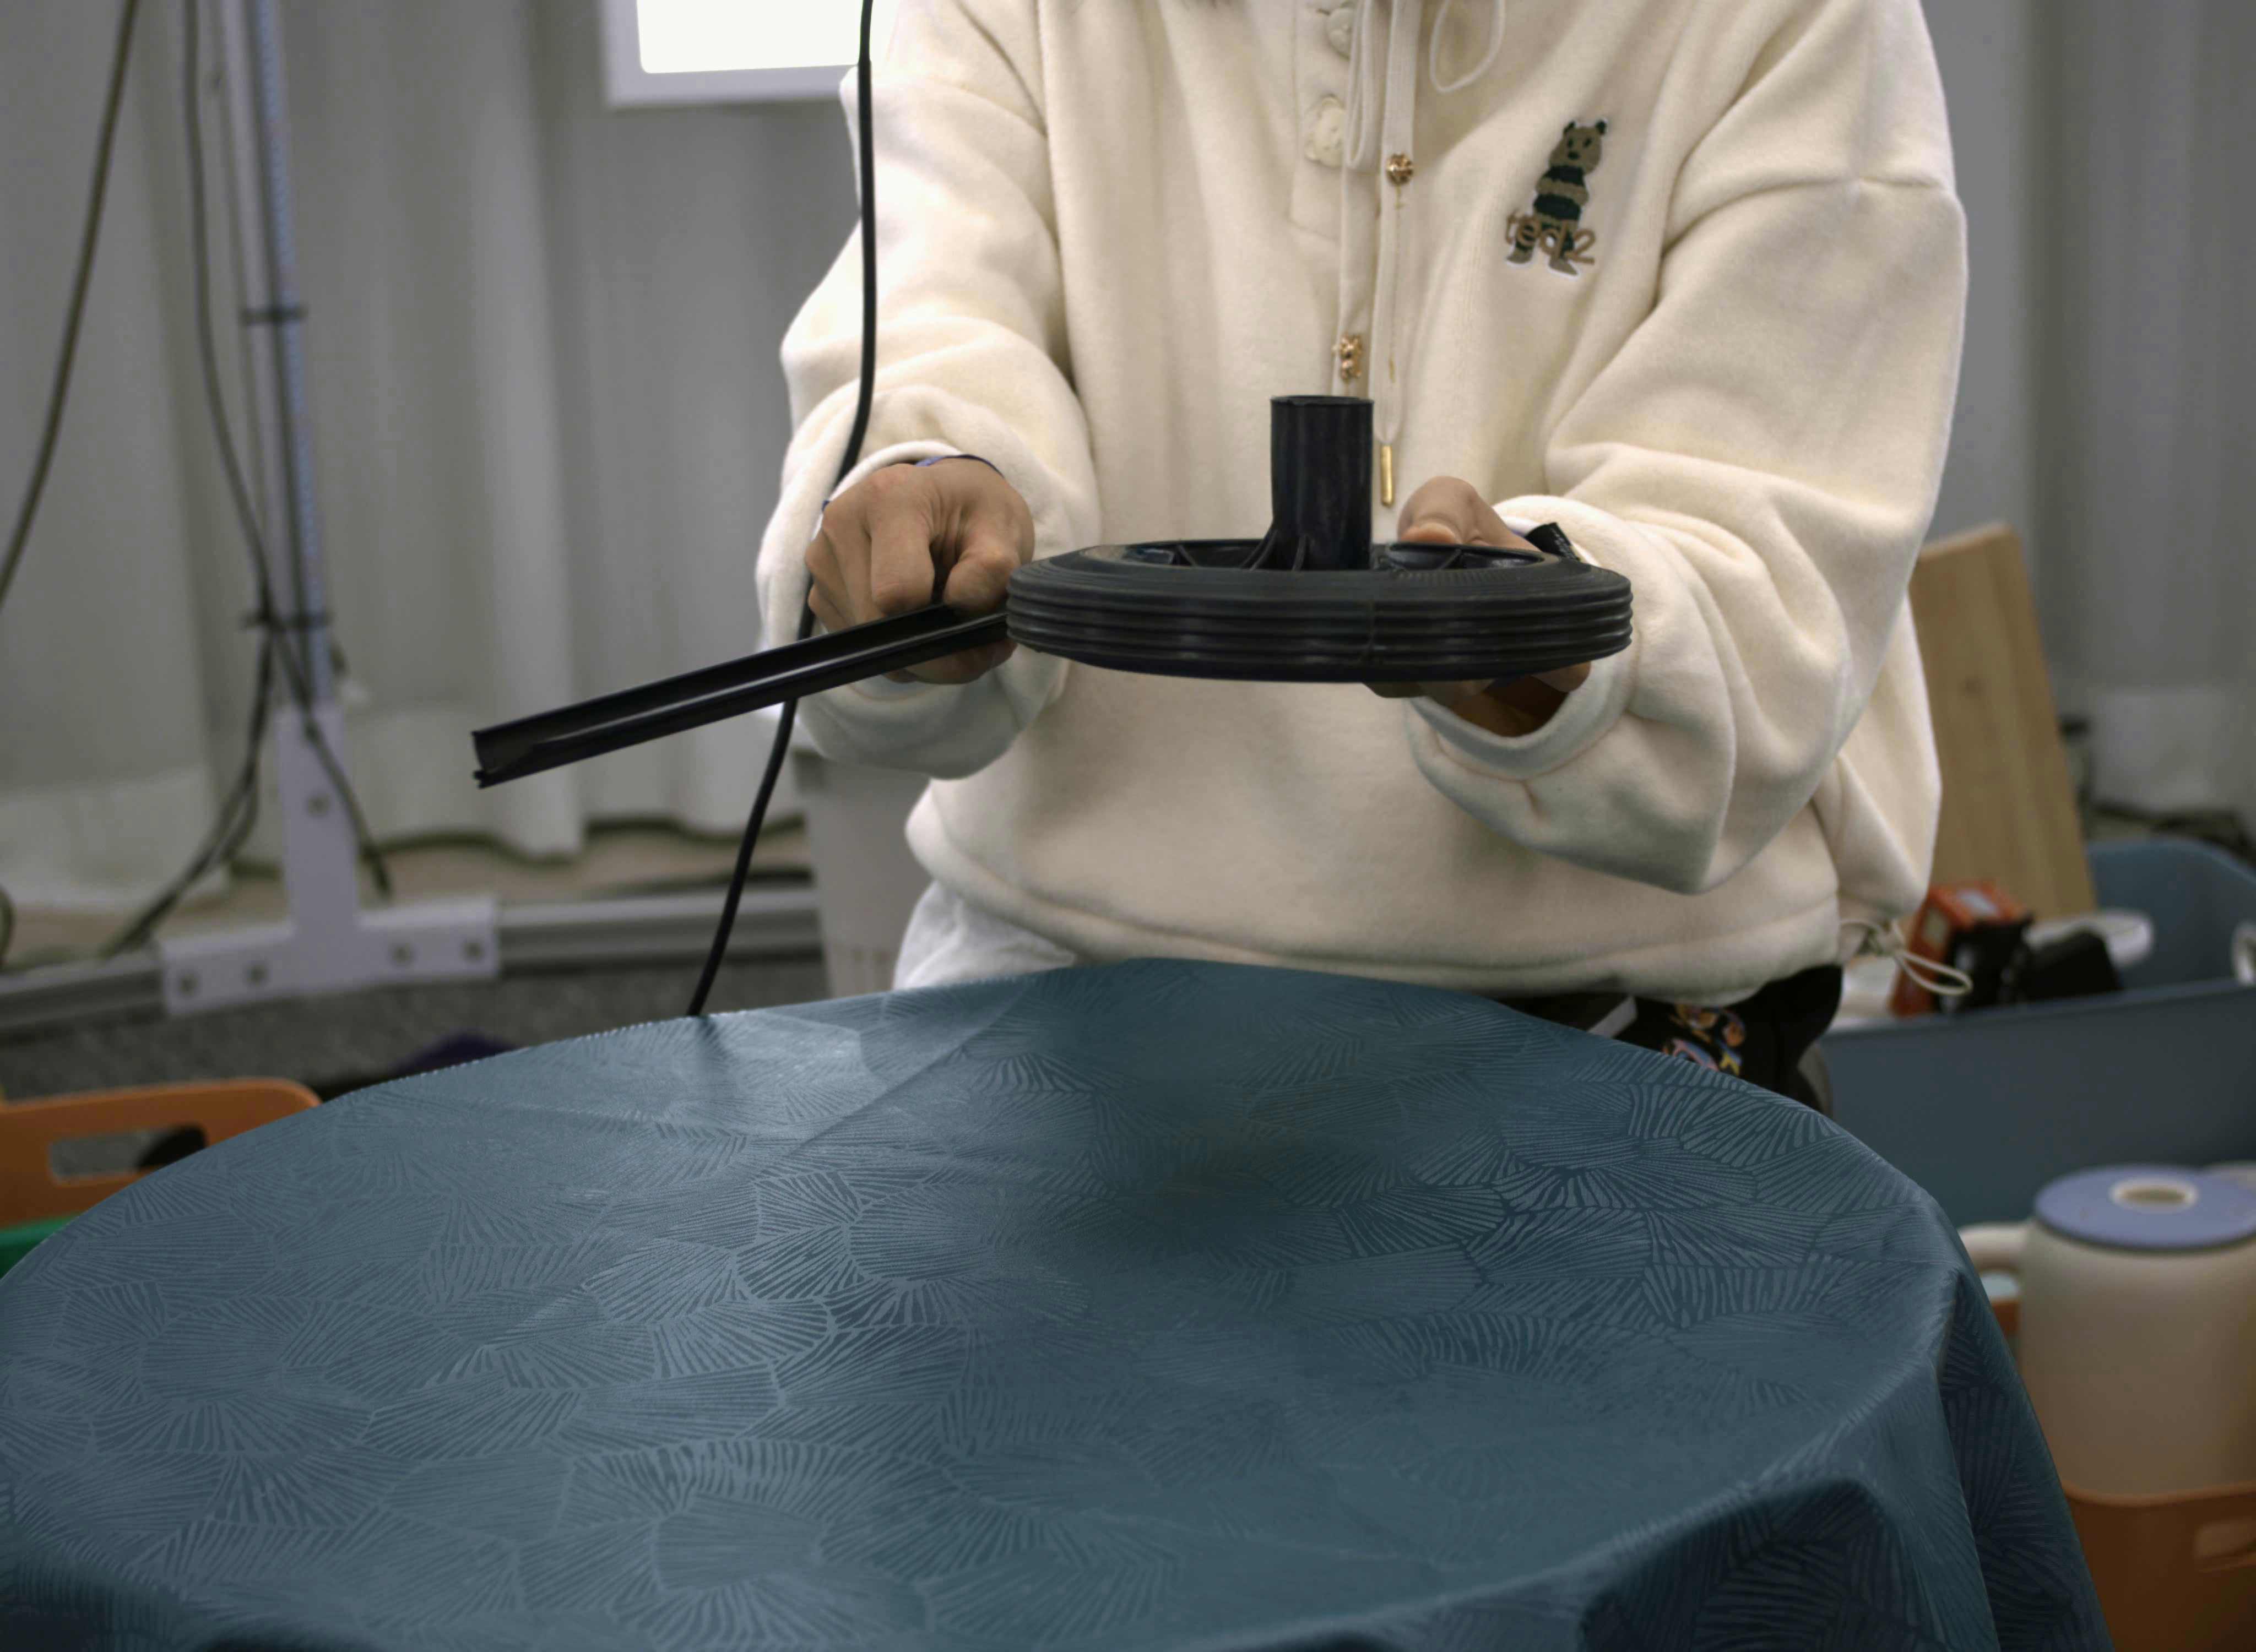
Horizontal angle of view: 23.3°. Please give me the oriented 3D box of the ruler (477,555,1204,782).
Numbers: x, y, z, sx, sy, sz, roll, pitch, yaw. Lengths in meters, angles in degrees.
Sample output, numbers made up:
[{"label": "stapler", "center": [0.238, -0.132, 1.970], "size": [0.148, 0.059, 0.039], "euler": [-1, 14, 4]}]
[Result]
[{"label": "ruler", "center": [-0.080, -0.055, 1.644], "size": [0.039, 0.017, 0.312], "euler": [-23, -3, 38]}]

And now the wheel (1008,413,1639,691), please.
[{"label": "wheel", "center": [0.059, -0.084, 1.641], "size": [0.190, 0.079, 0.187], "euler": [5, 8, 30]}]
